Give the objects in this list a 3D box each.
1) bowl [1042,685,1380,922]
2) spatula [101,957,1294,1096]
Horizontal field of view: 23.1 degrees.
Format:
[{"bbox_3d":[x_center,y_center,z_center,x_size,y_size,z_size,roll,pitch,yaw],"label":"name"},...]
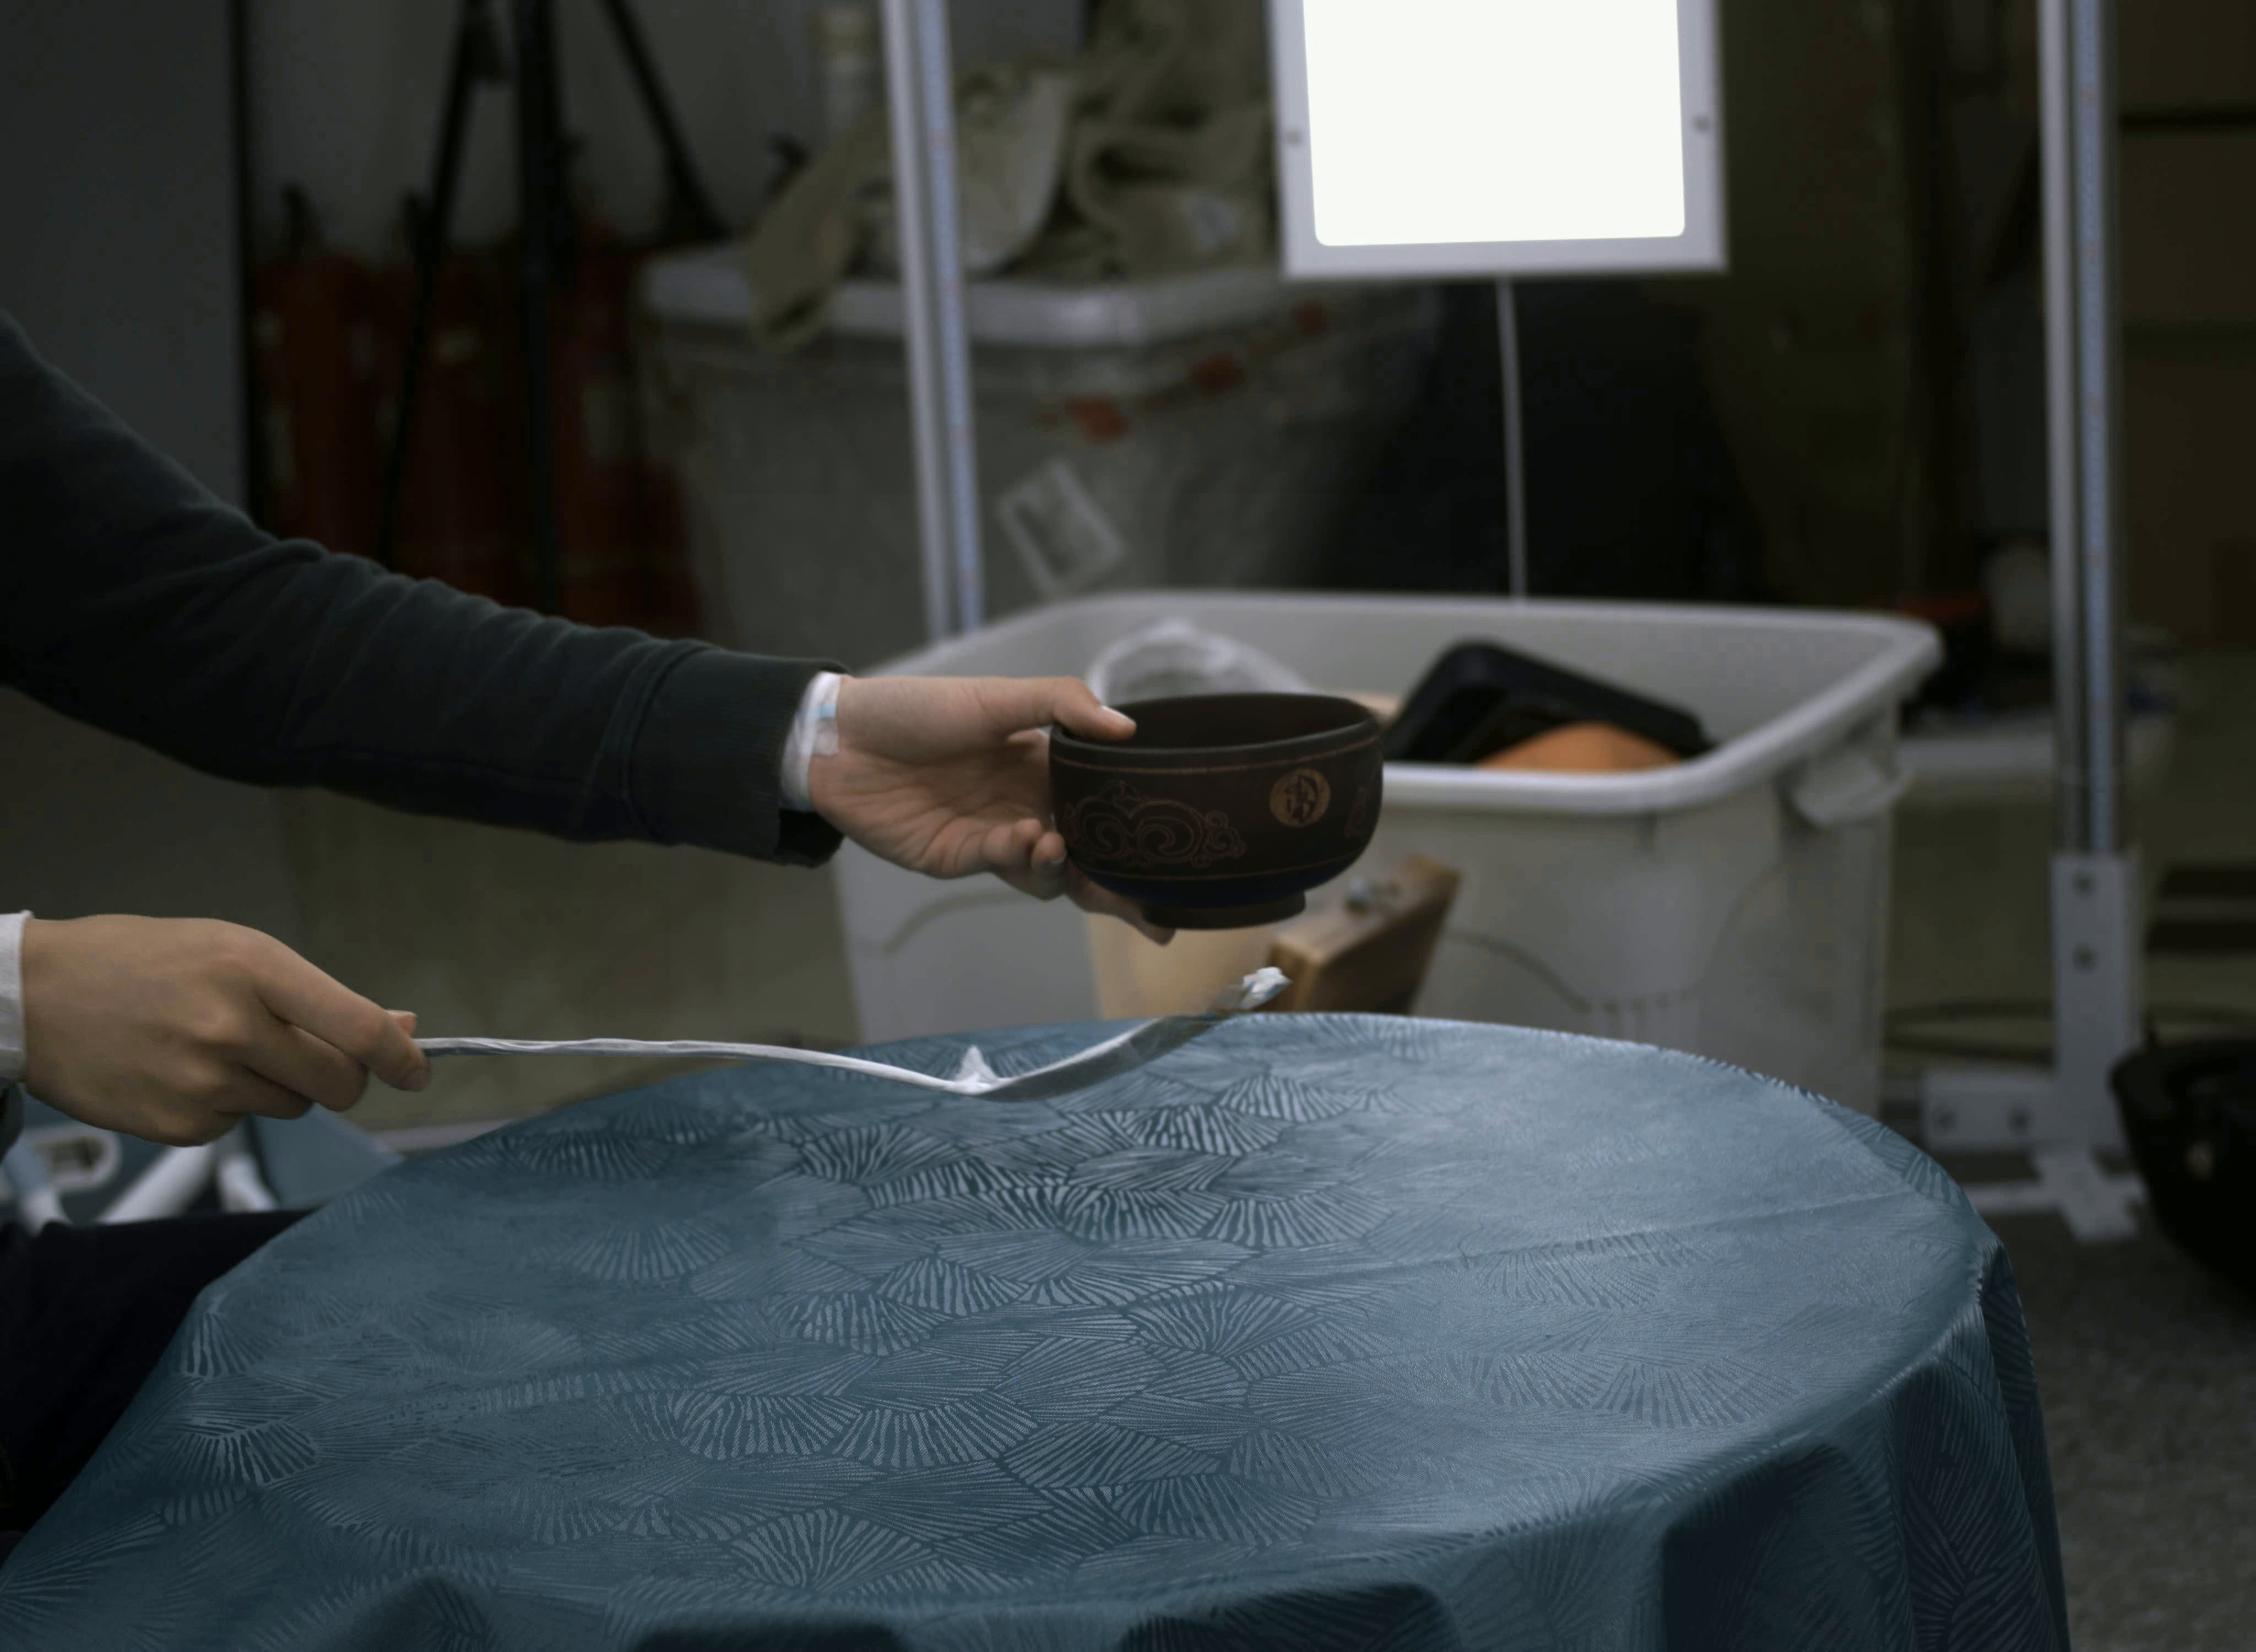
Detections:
[{"bbox_3d":[0.030,-0.006,1.904,0.117,0.070,0.118,-5,9,-1],"label":"bowl"},{"bbox_3d":[-0.132,0.060,1.643,0.366,0.045,0.098,0,2,8],"label":"spatula"}]
